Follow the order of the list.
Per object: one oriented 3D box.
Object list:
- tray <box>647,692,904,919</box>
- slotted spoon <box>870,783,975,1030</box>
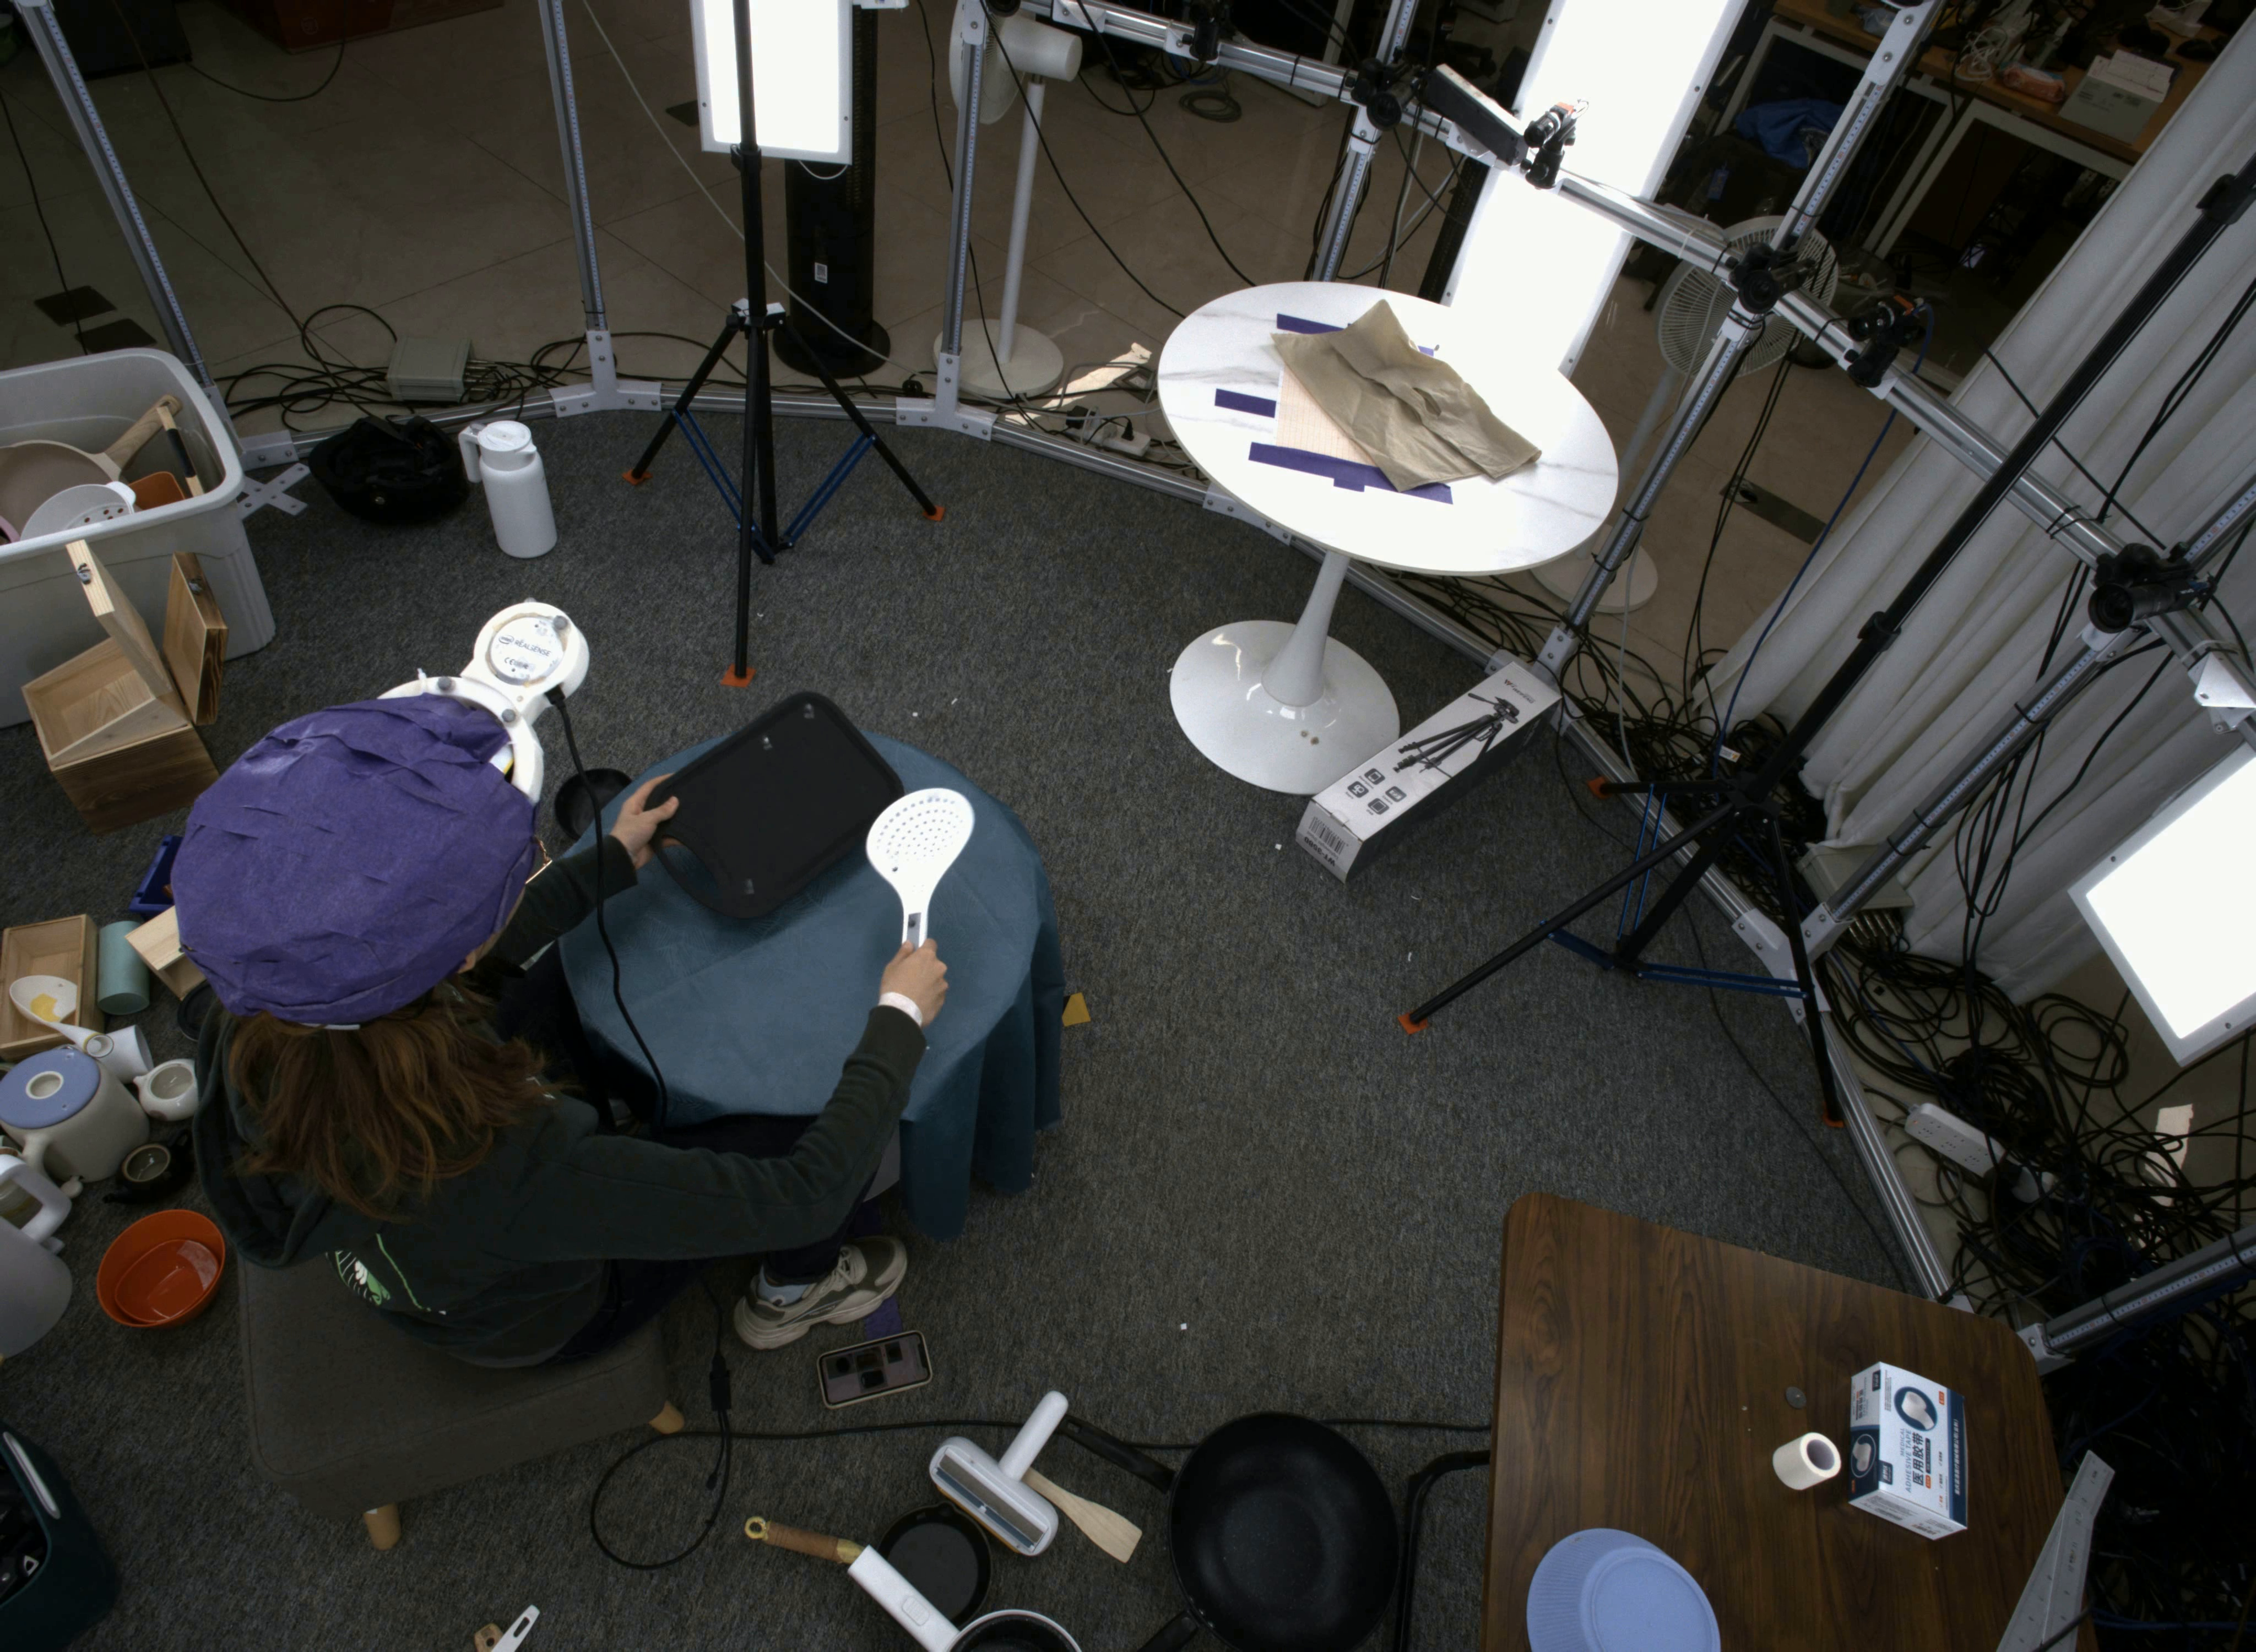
[{"bbox_3d":[-0.449,-0.029,1.651,0.212,0.010,0.325,50,54,-3],"label":"tray"},{"bbox_3d":[-0.246,0.084,1.514,0.134,0.047,0.342,-9,44,9],"label":"slotted spoon"}]
